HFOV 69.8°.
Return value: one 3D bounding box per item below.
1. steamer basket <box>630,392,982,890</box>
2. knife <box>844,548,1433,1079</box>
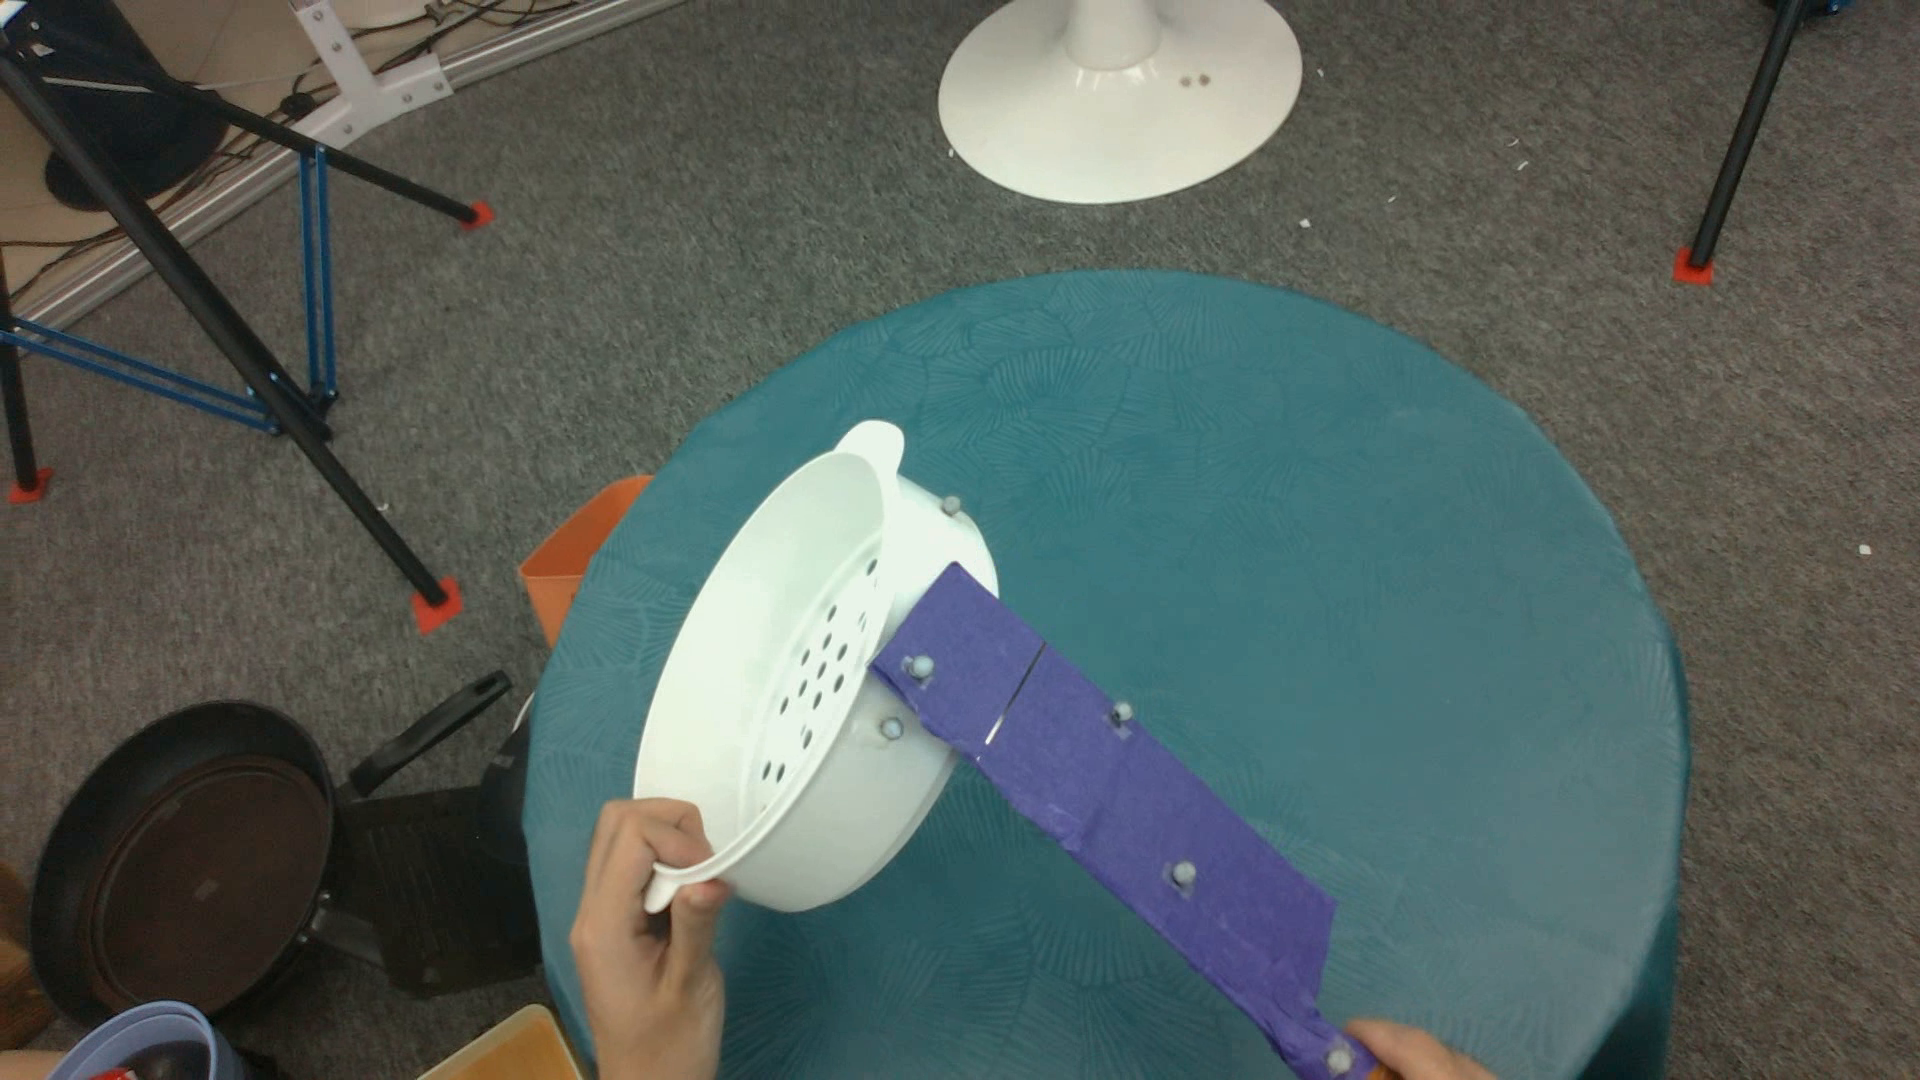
[{"bbox_3d":[-0.069,0.050,0.610,0.202,0.069,0.230,20,85,62],"label":"steamer basket"},{"bbox_3d":[0.092,0.119,0.517,0.315,0.032,0.104,43,32,-2],"label":"knife"}]
